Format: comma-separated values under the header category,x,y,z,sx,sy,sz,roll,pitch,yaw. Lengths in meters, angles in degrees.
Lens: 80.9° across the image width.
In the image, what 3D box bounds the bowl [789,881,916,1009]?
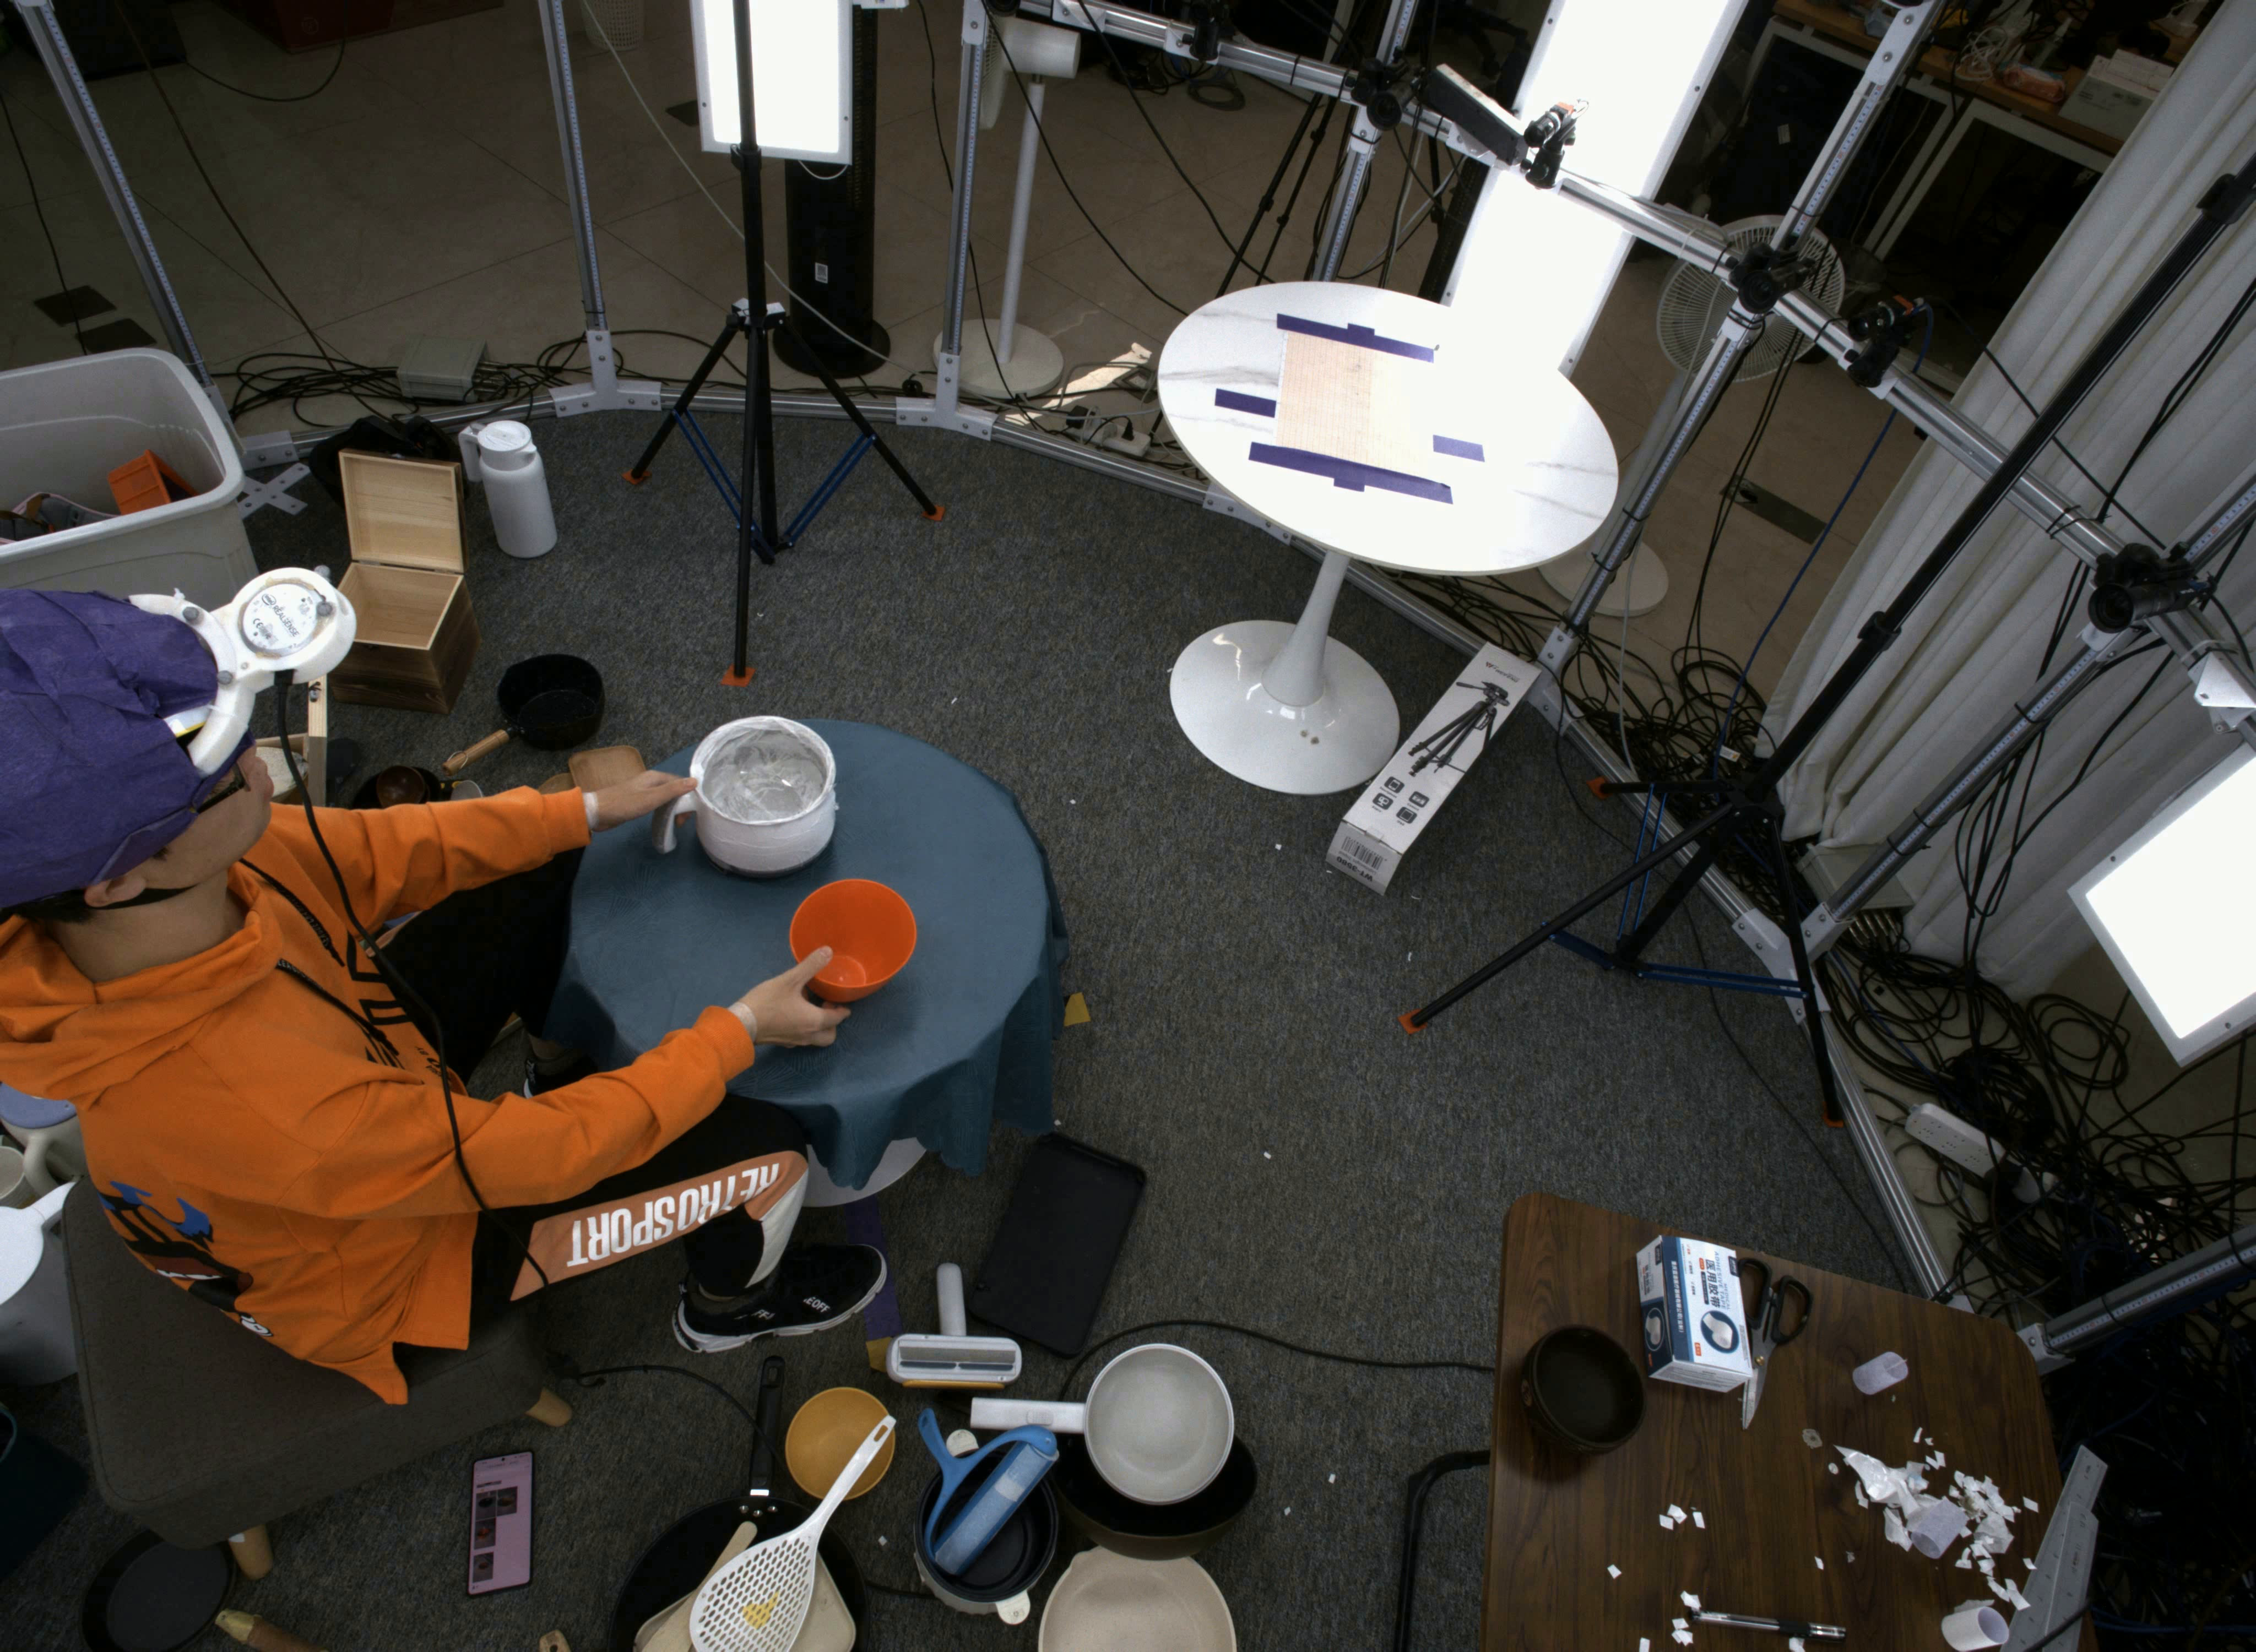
category,x,y,z,sx,sy,sz,roll,pitch,yaw
bowl,-0.333,0.154,1.558,0.148,0.106,0.145,11,47,-11

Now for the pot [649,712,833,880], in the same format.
category,x,y,z,sx,sy,sz,roll,pitch,yaw
pot,-0.488,-0.028,1.628,0.235,0.139,0.174,-14,57,-24
